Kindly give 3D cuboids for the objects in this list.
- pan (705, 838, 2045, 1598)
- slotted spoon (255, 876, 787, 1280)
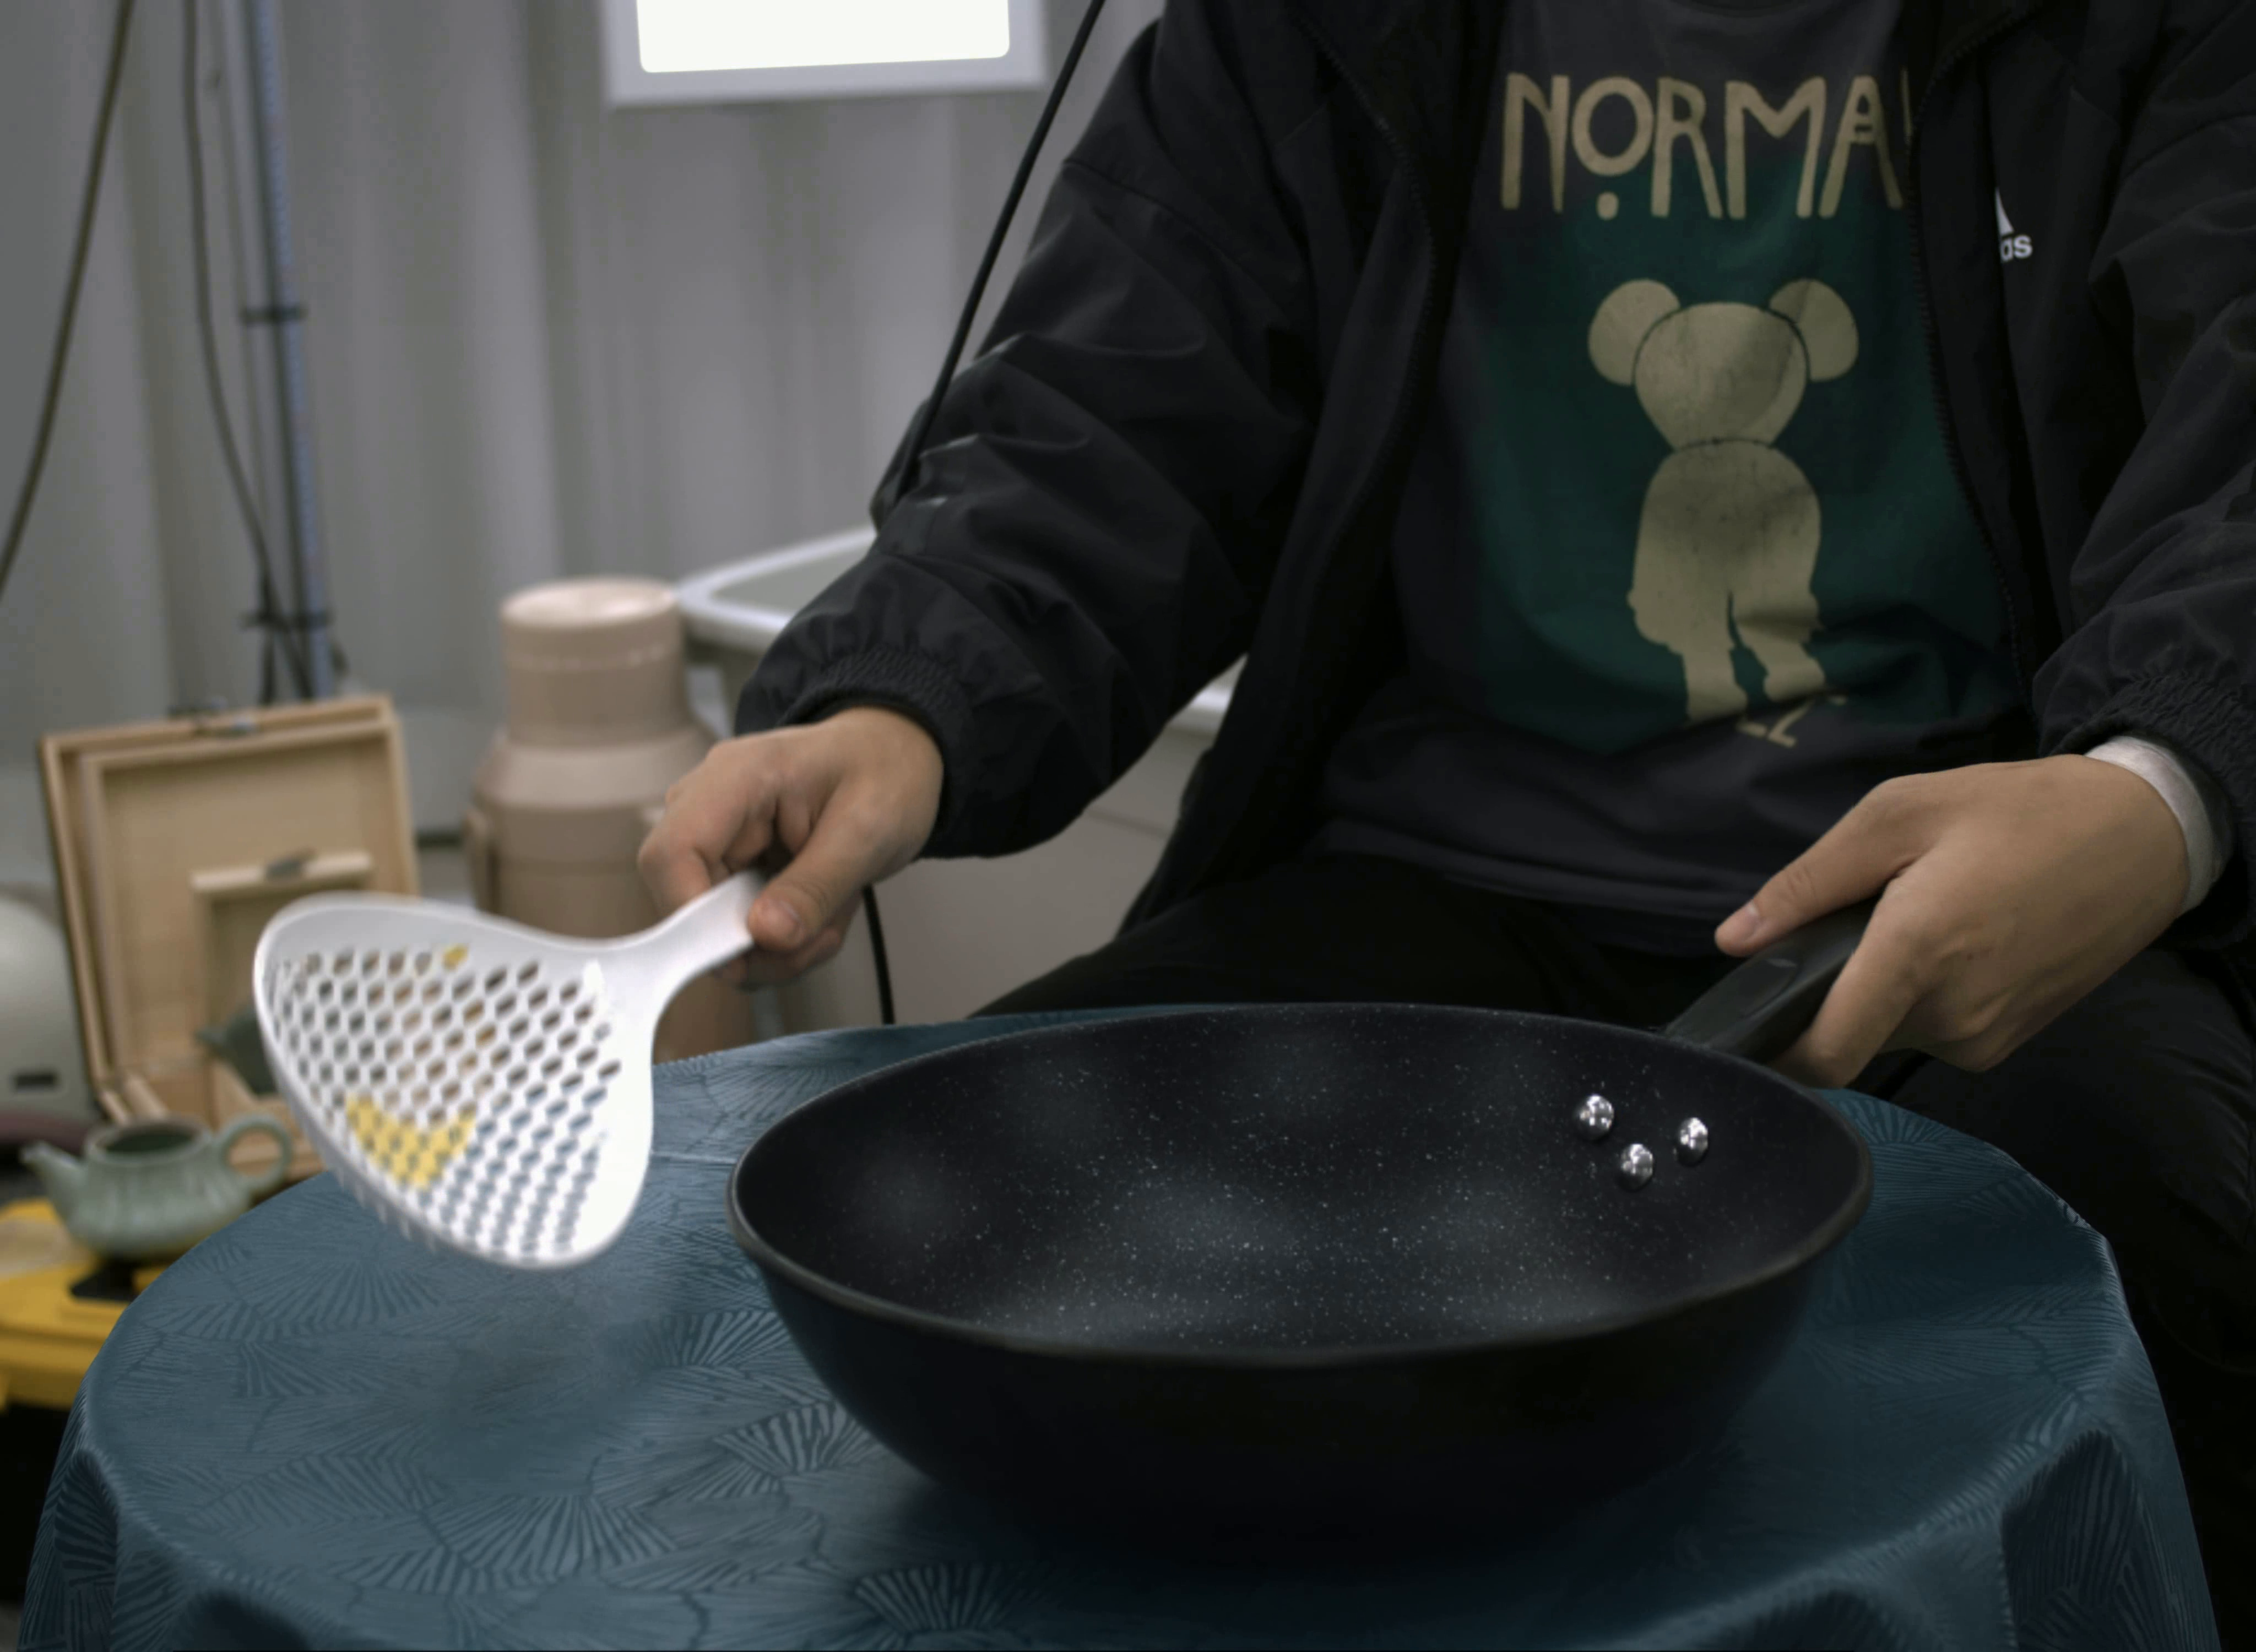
[{"bbox_3d":[0.102,0.106,1.525,0.476,0.111,0.312,-16,21,-42],"label":"pan"},{"bbox_3d":[-0.164,0.059,1.681,0.137,0.050,0.349,45,27,5],"label":"slotted spoon"}]
